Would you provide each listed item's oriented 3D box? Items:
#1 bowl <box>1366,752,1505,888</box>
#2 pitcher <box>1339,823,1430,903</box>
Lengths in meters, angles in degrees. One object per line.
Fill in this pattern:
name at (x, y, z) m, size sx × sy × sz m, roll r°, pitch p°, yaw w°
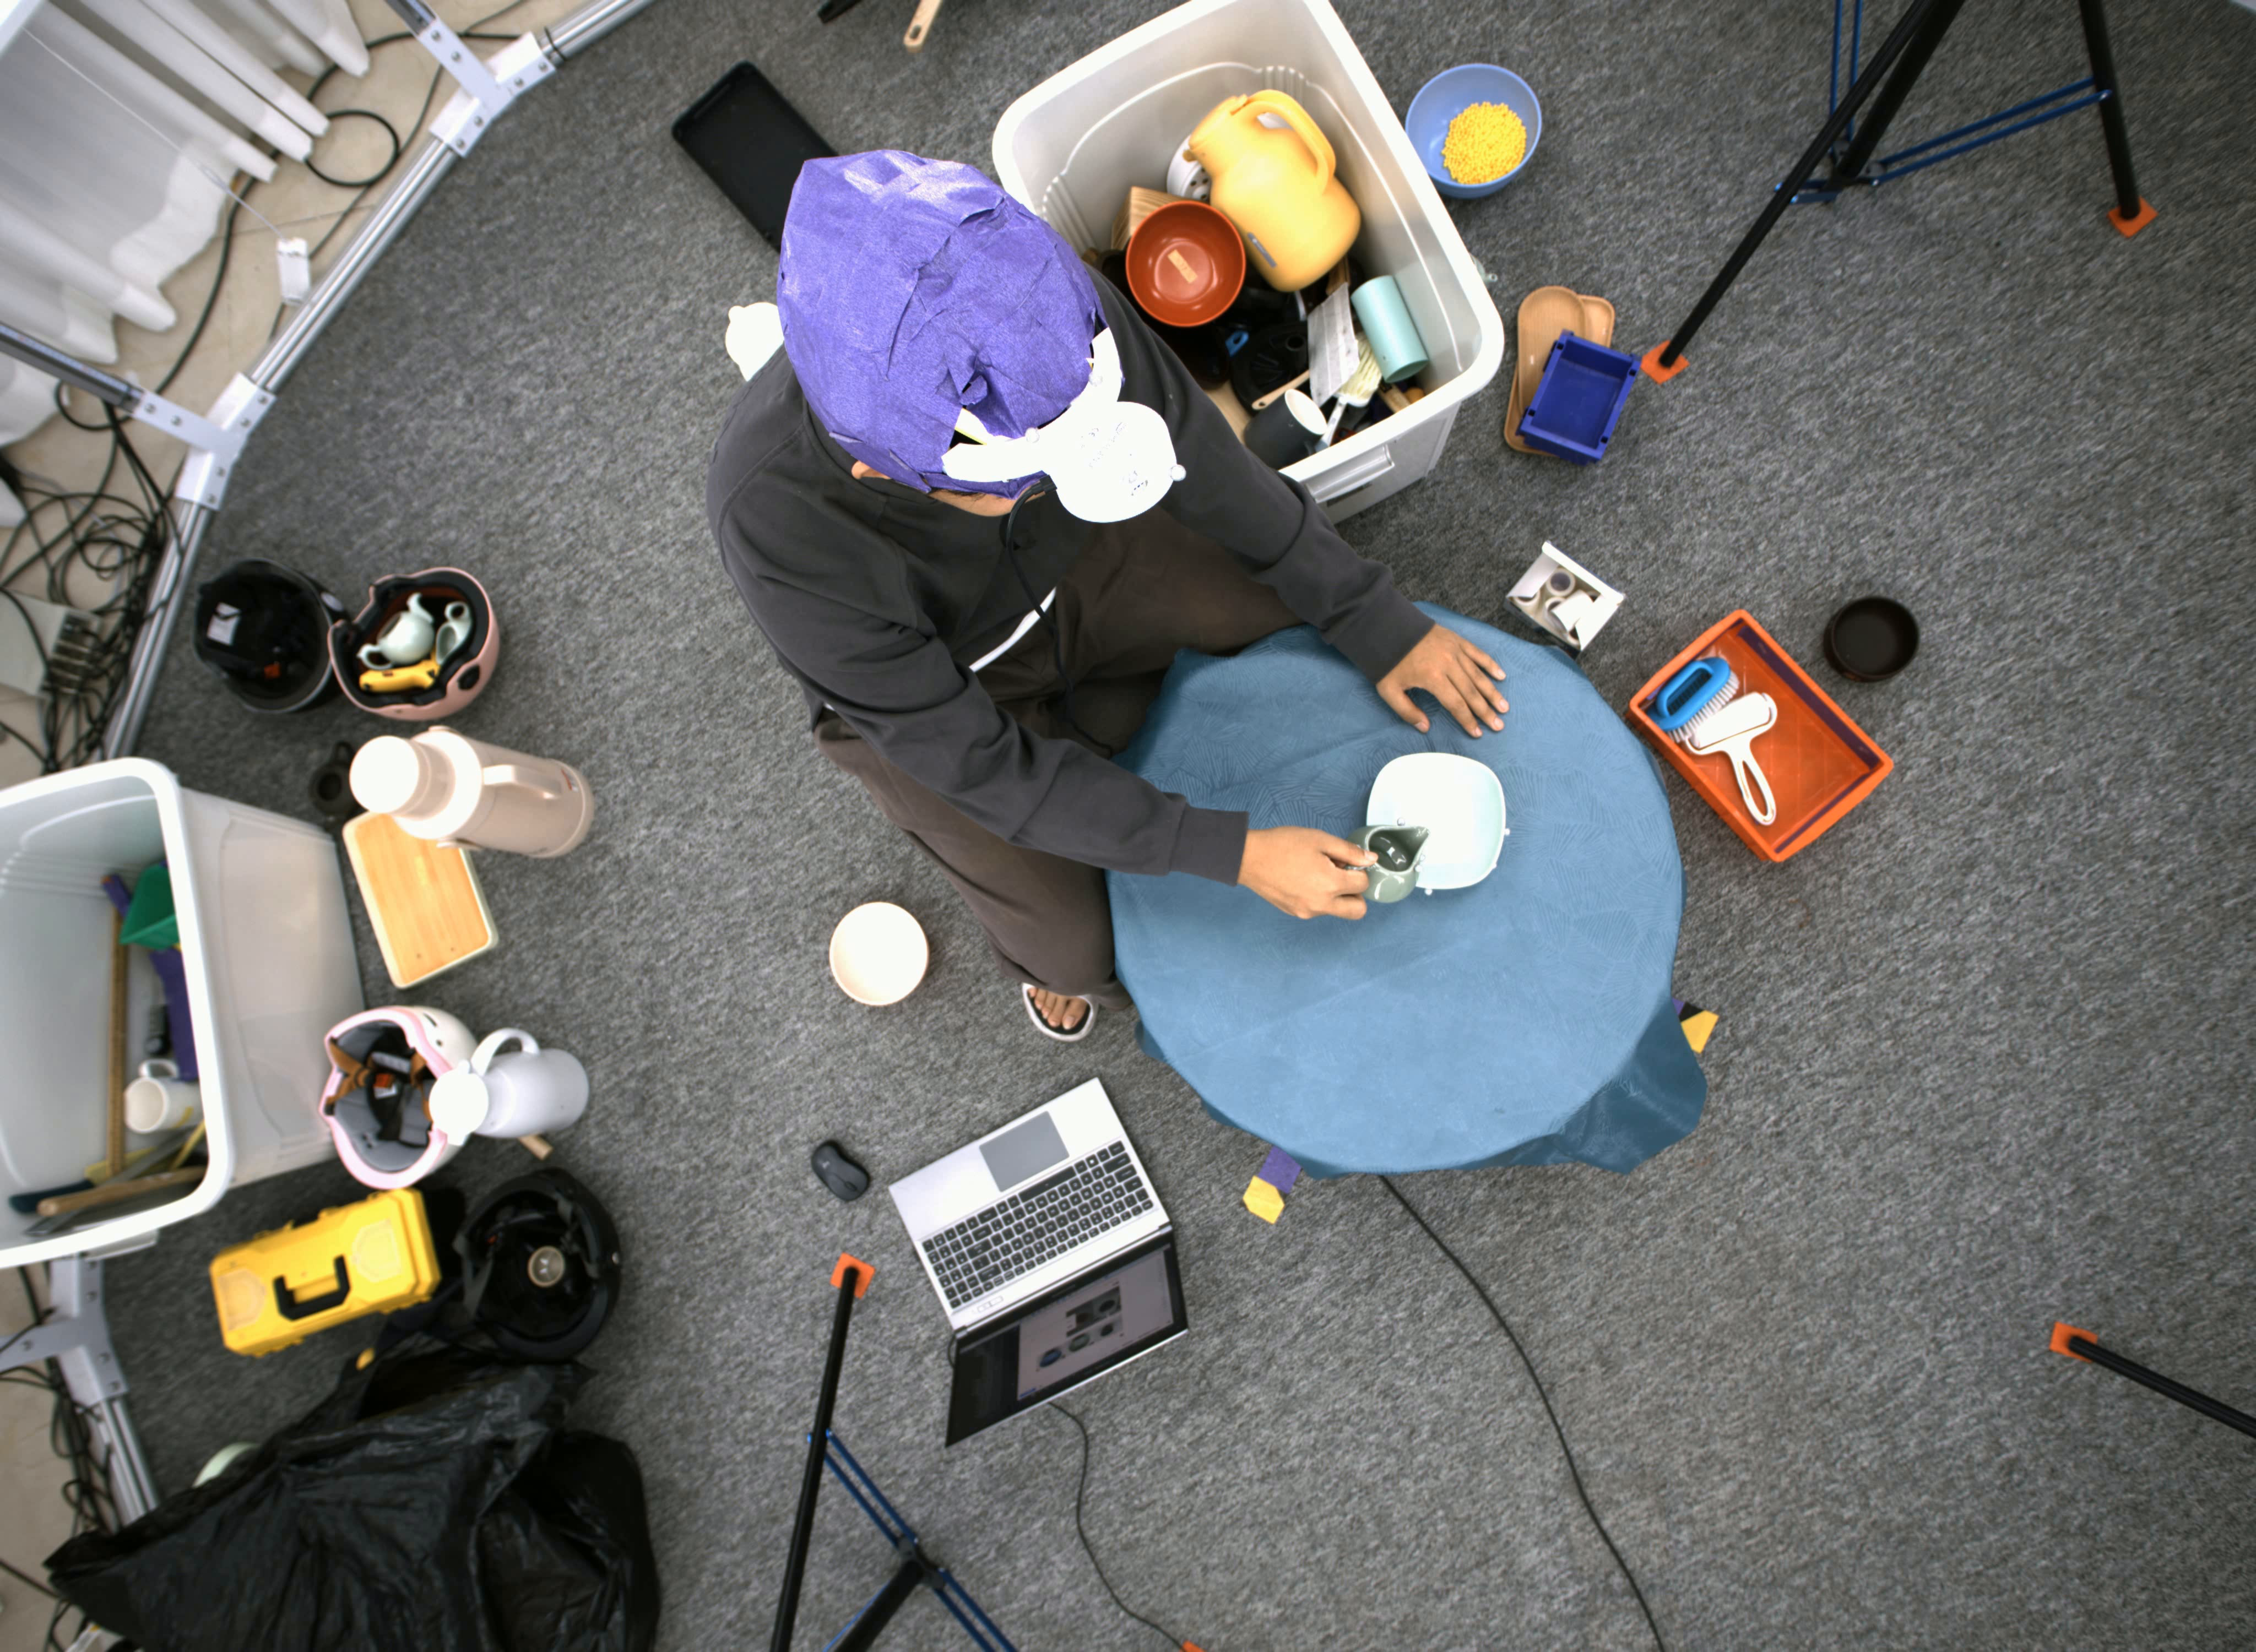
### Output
bowl at (0.317, -0.006, 1.429) m, size 0.152 × 0.058 × 0.151 m, roll -1°, pitch 87°, yaw 10°
pitcher at (0.247, 0.035, 1.364) m, size 0.111 × 0.057 × 0.083 m, roll -27°, pitch 72°, yaw -26°
